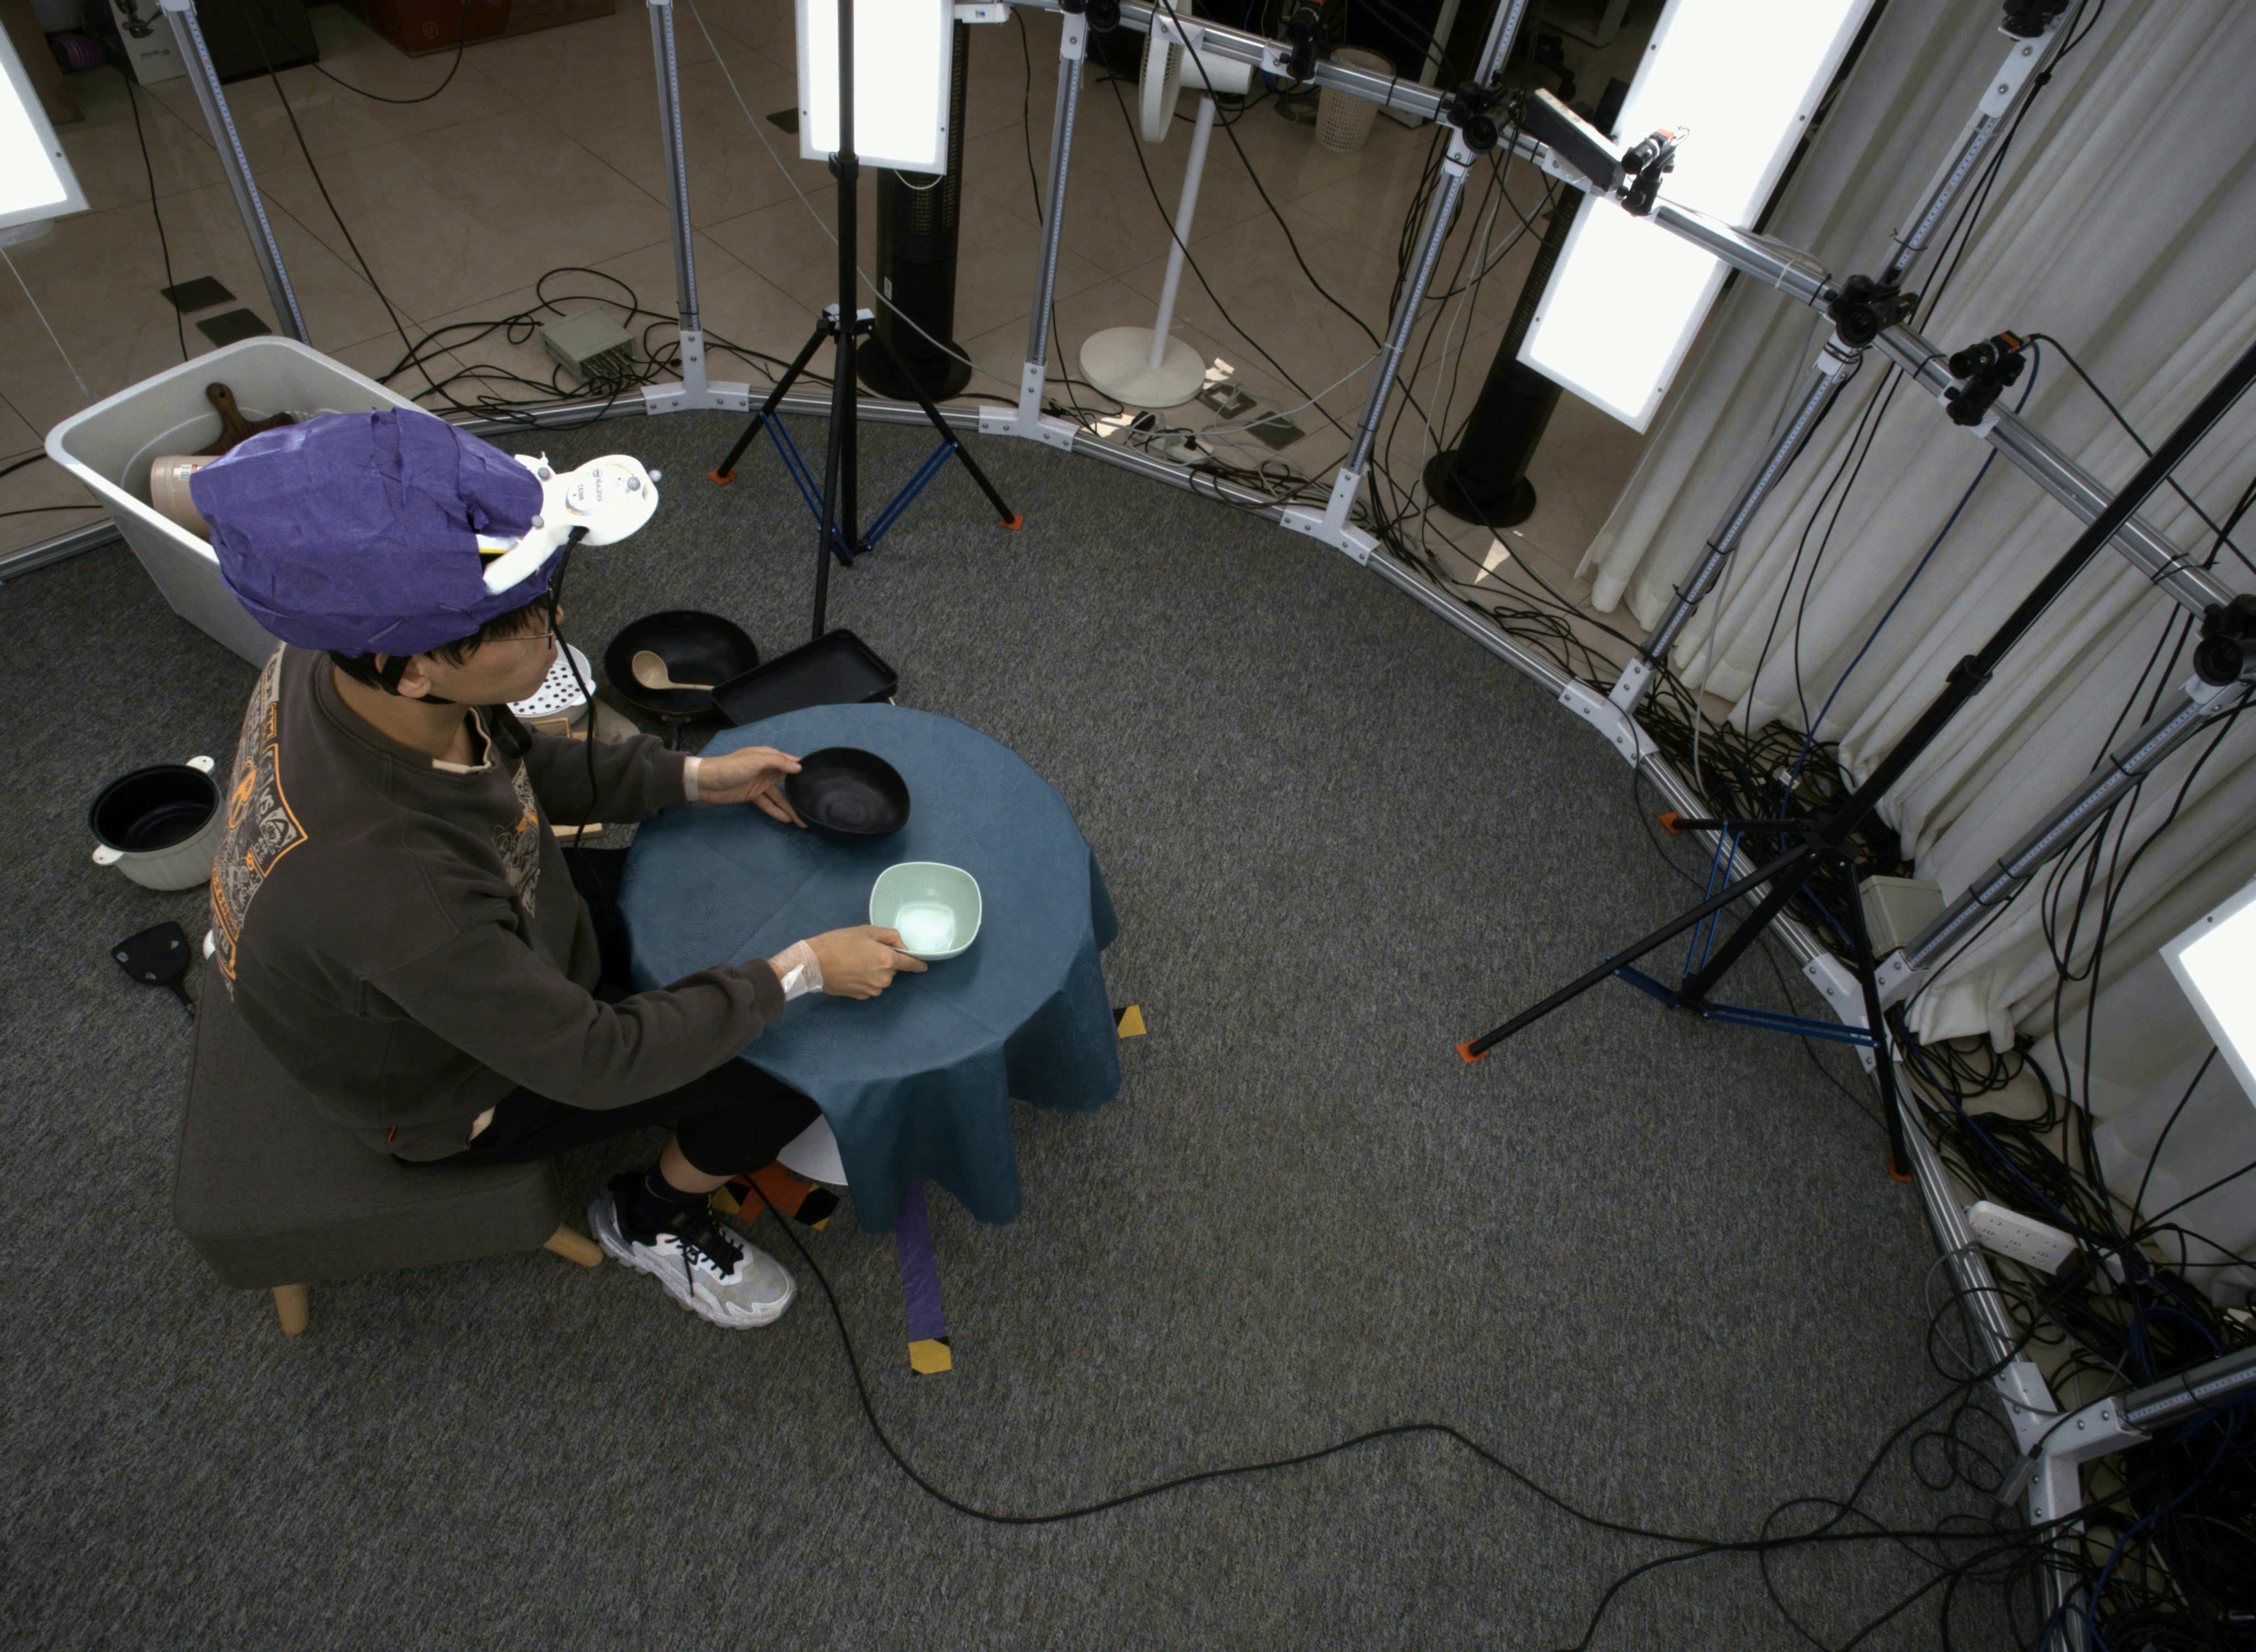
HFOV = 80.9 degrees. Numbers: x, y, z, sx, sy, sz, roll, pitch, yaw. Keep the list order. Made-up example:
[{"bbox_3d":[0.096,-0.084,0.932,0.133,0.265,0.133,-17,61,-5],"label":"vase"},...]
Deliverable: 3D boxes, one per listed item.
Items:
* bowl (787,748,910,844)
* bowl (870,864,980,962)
[{"bbox_3d":[-0.371,-0.030,1.733,0.168,0.068,0.136,22,52,2],"label":"bowl"},{"bbox_3d":[-0.258,0.119,1.654,0.151,0.060,0.149,8,51,-8],"label":"bowl"}]
